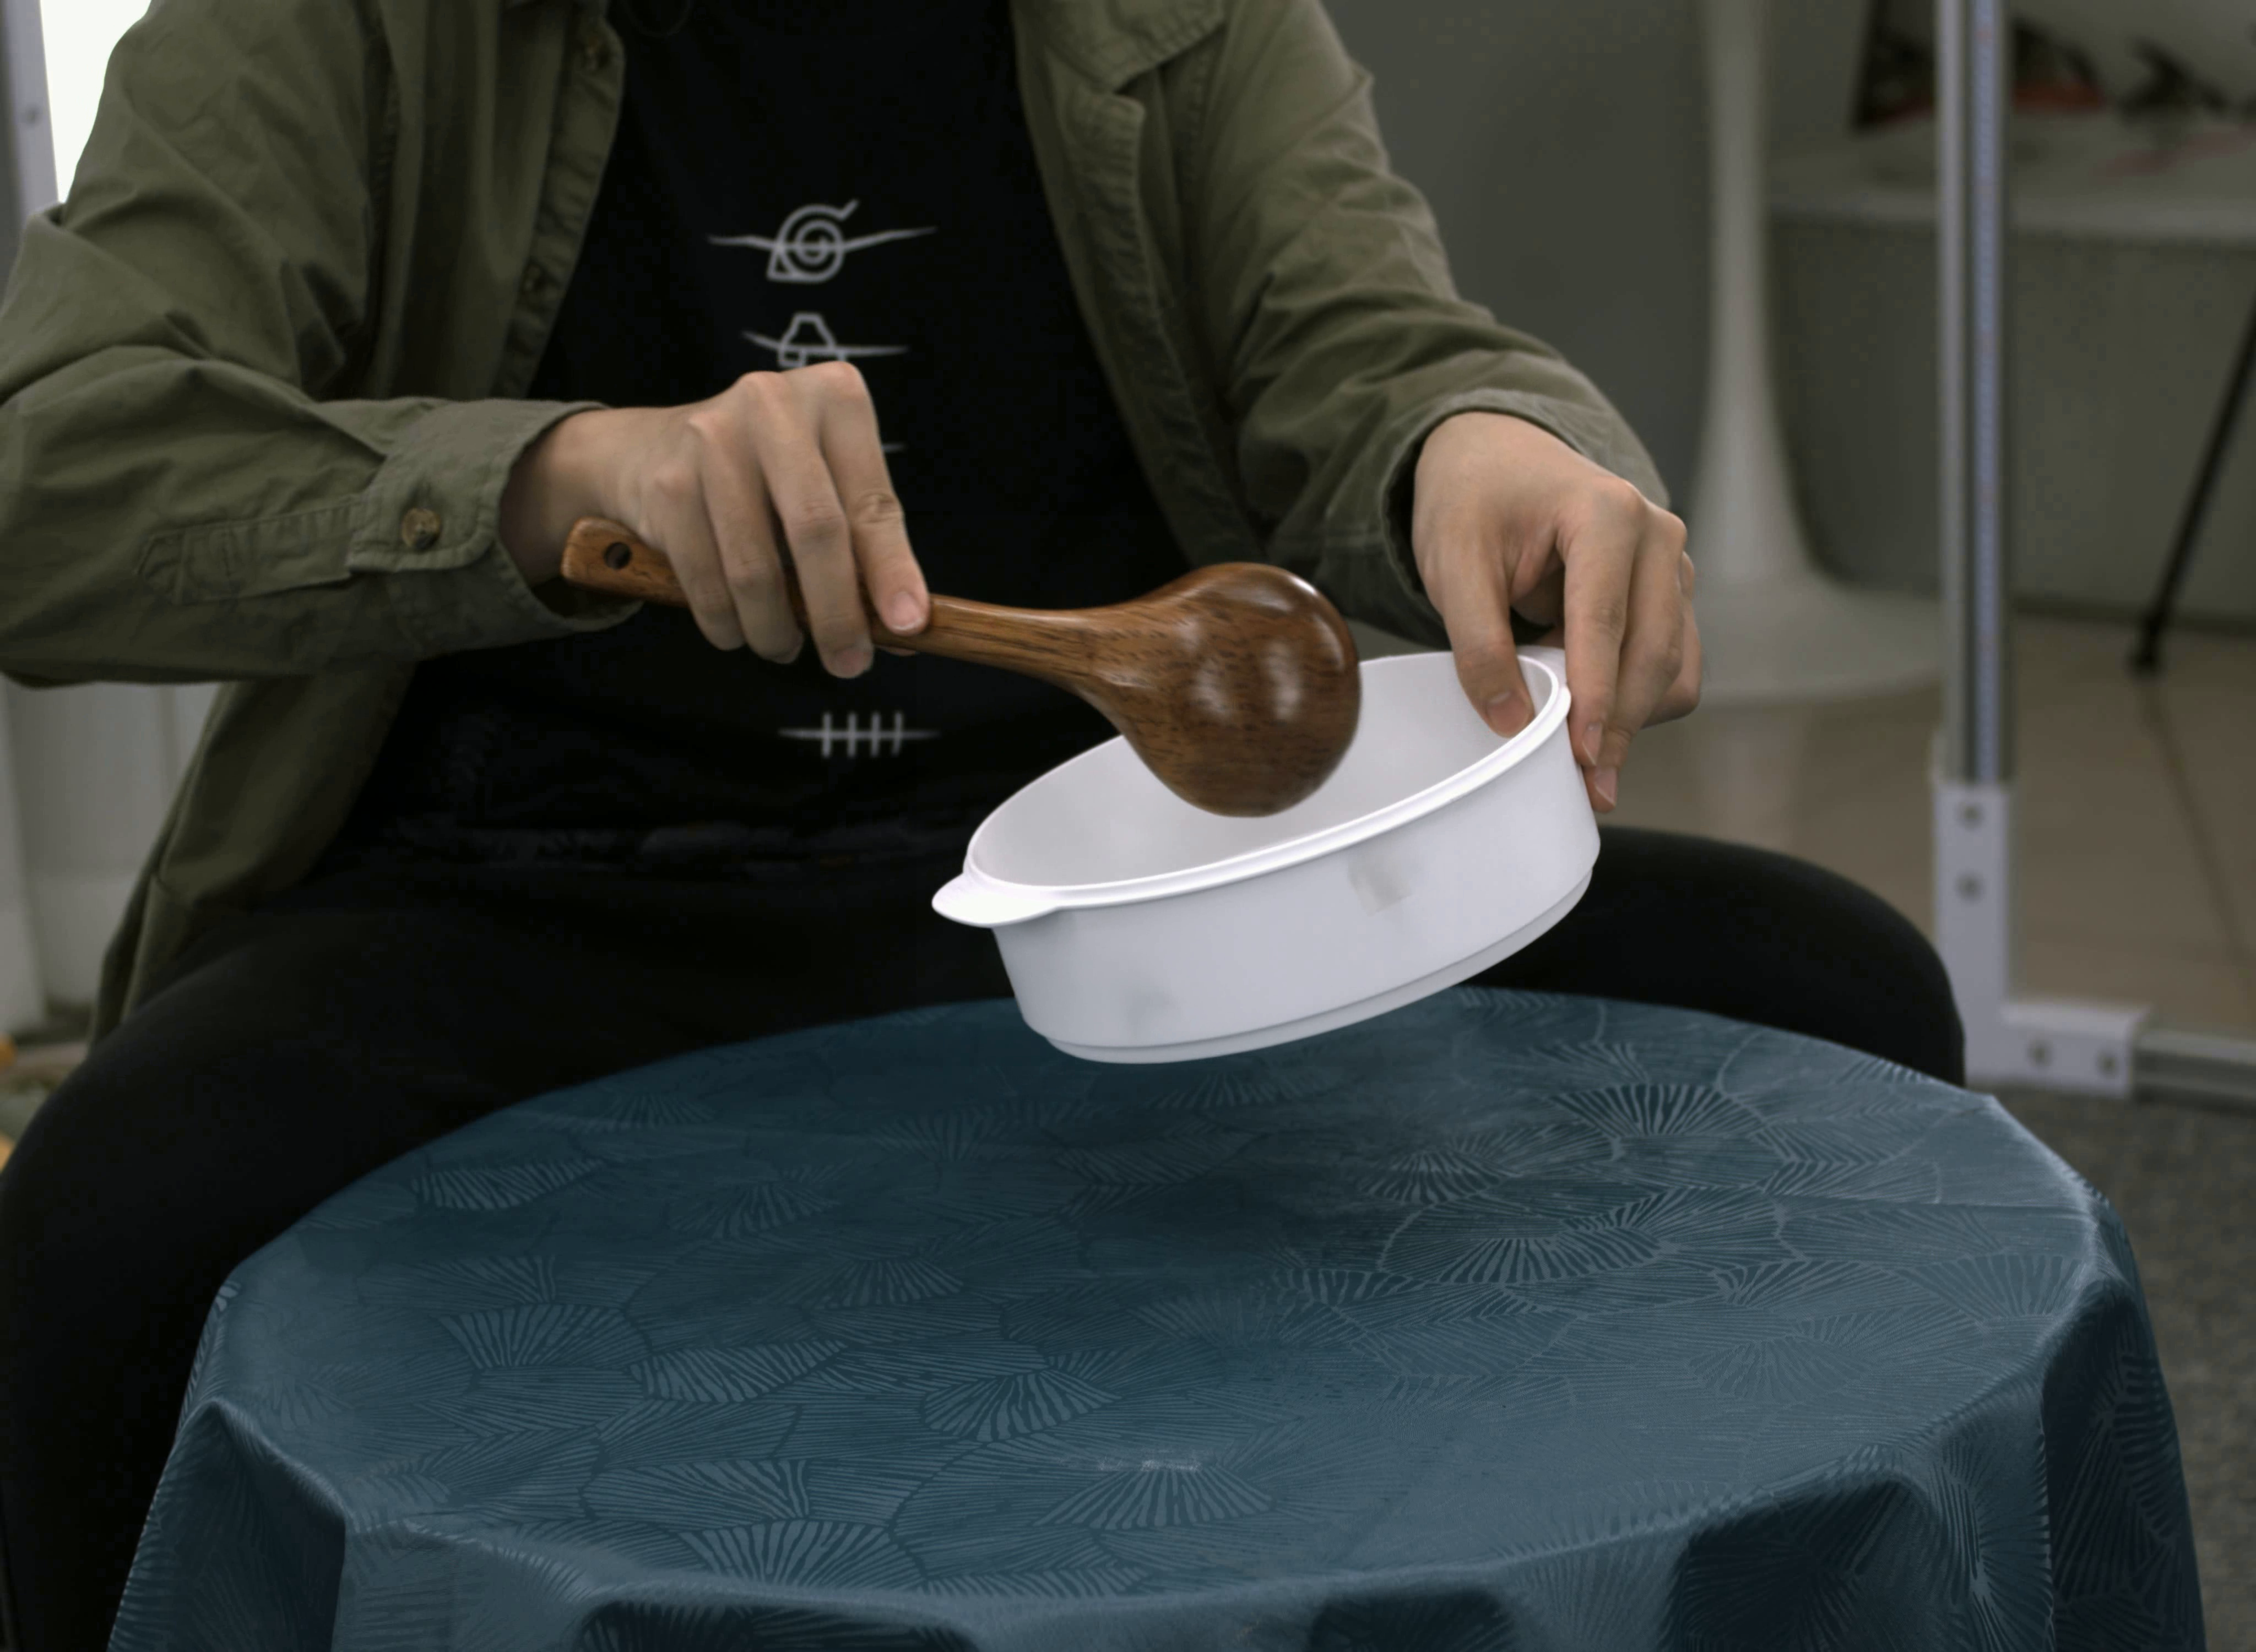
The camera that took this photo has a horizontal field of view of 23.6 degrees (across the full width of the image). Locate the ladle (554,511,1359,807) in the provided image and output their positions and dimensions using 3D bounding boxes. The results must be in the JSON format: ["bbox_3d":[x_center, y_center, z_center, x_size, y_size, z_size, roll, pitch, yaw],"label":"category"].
[{"bbox_3d":[-0.054,-0.066,1.742,0.275,0.083,0.075,11,-11,30],"label":"ladle"}]

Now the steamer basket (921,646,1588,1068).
[{"bbox_3d":[0.047,0.011,1.706,0.227,0.070,0.204,-23,16,-19],"label":"steamer basket"}]
